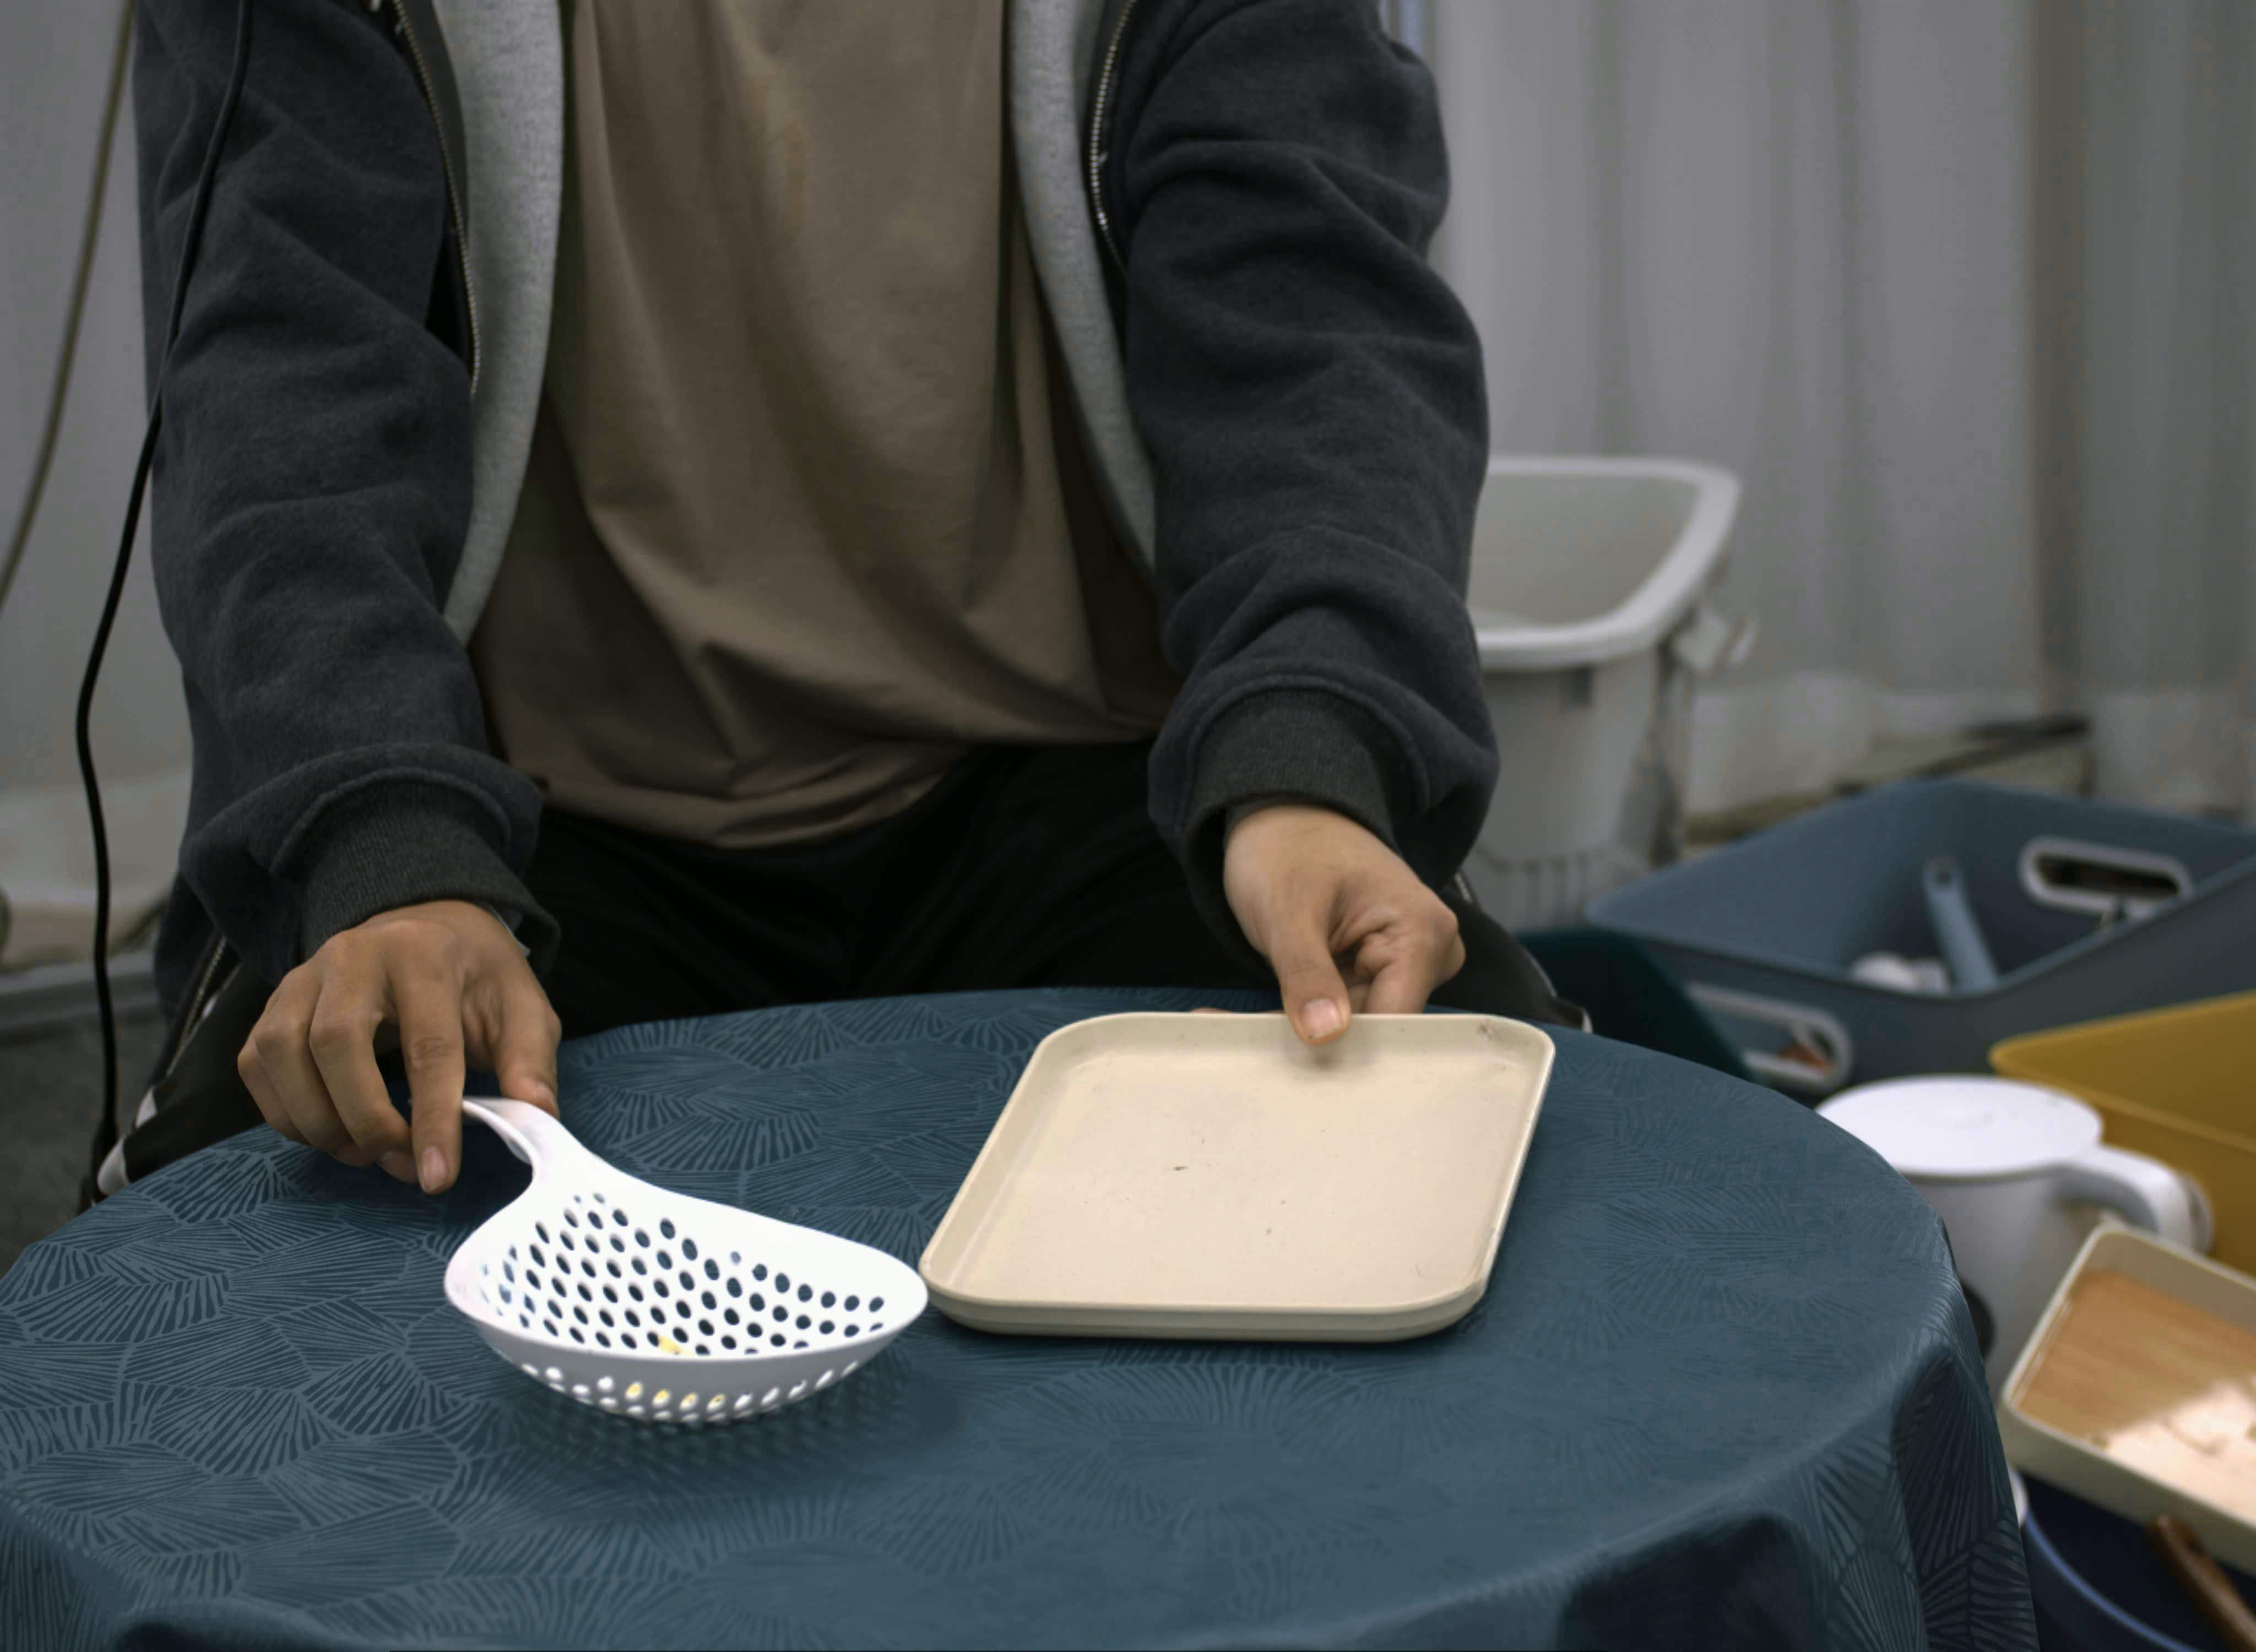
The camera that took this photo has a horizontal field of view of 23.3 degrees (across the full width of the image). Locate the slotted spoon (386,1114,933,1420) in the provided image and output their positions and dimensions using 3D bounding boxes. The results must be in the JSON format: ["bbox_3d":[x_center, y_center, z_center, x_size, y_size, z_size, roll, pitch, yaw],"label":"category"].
[{"bbox_3d":[-0.165,0.118,1.645,0.136,0.050,0.351,-6,16,-21],"label":"slotted spoon"}]

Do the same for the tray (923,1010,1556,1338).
[{"bbox_3d":[0.039,0.106,1.682,0.171,0.017,0.241,-1,18,12],"label":"tray"}]
